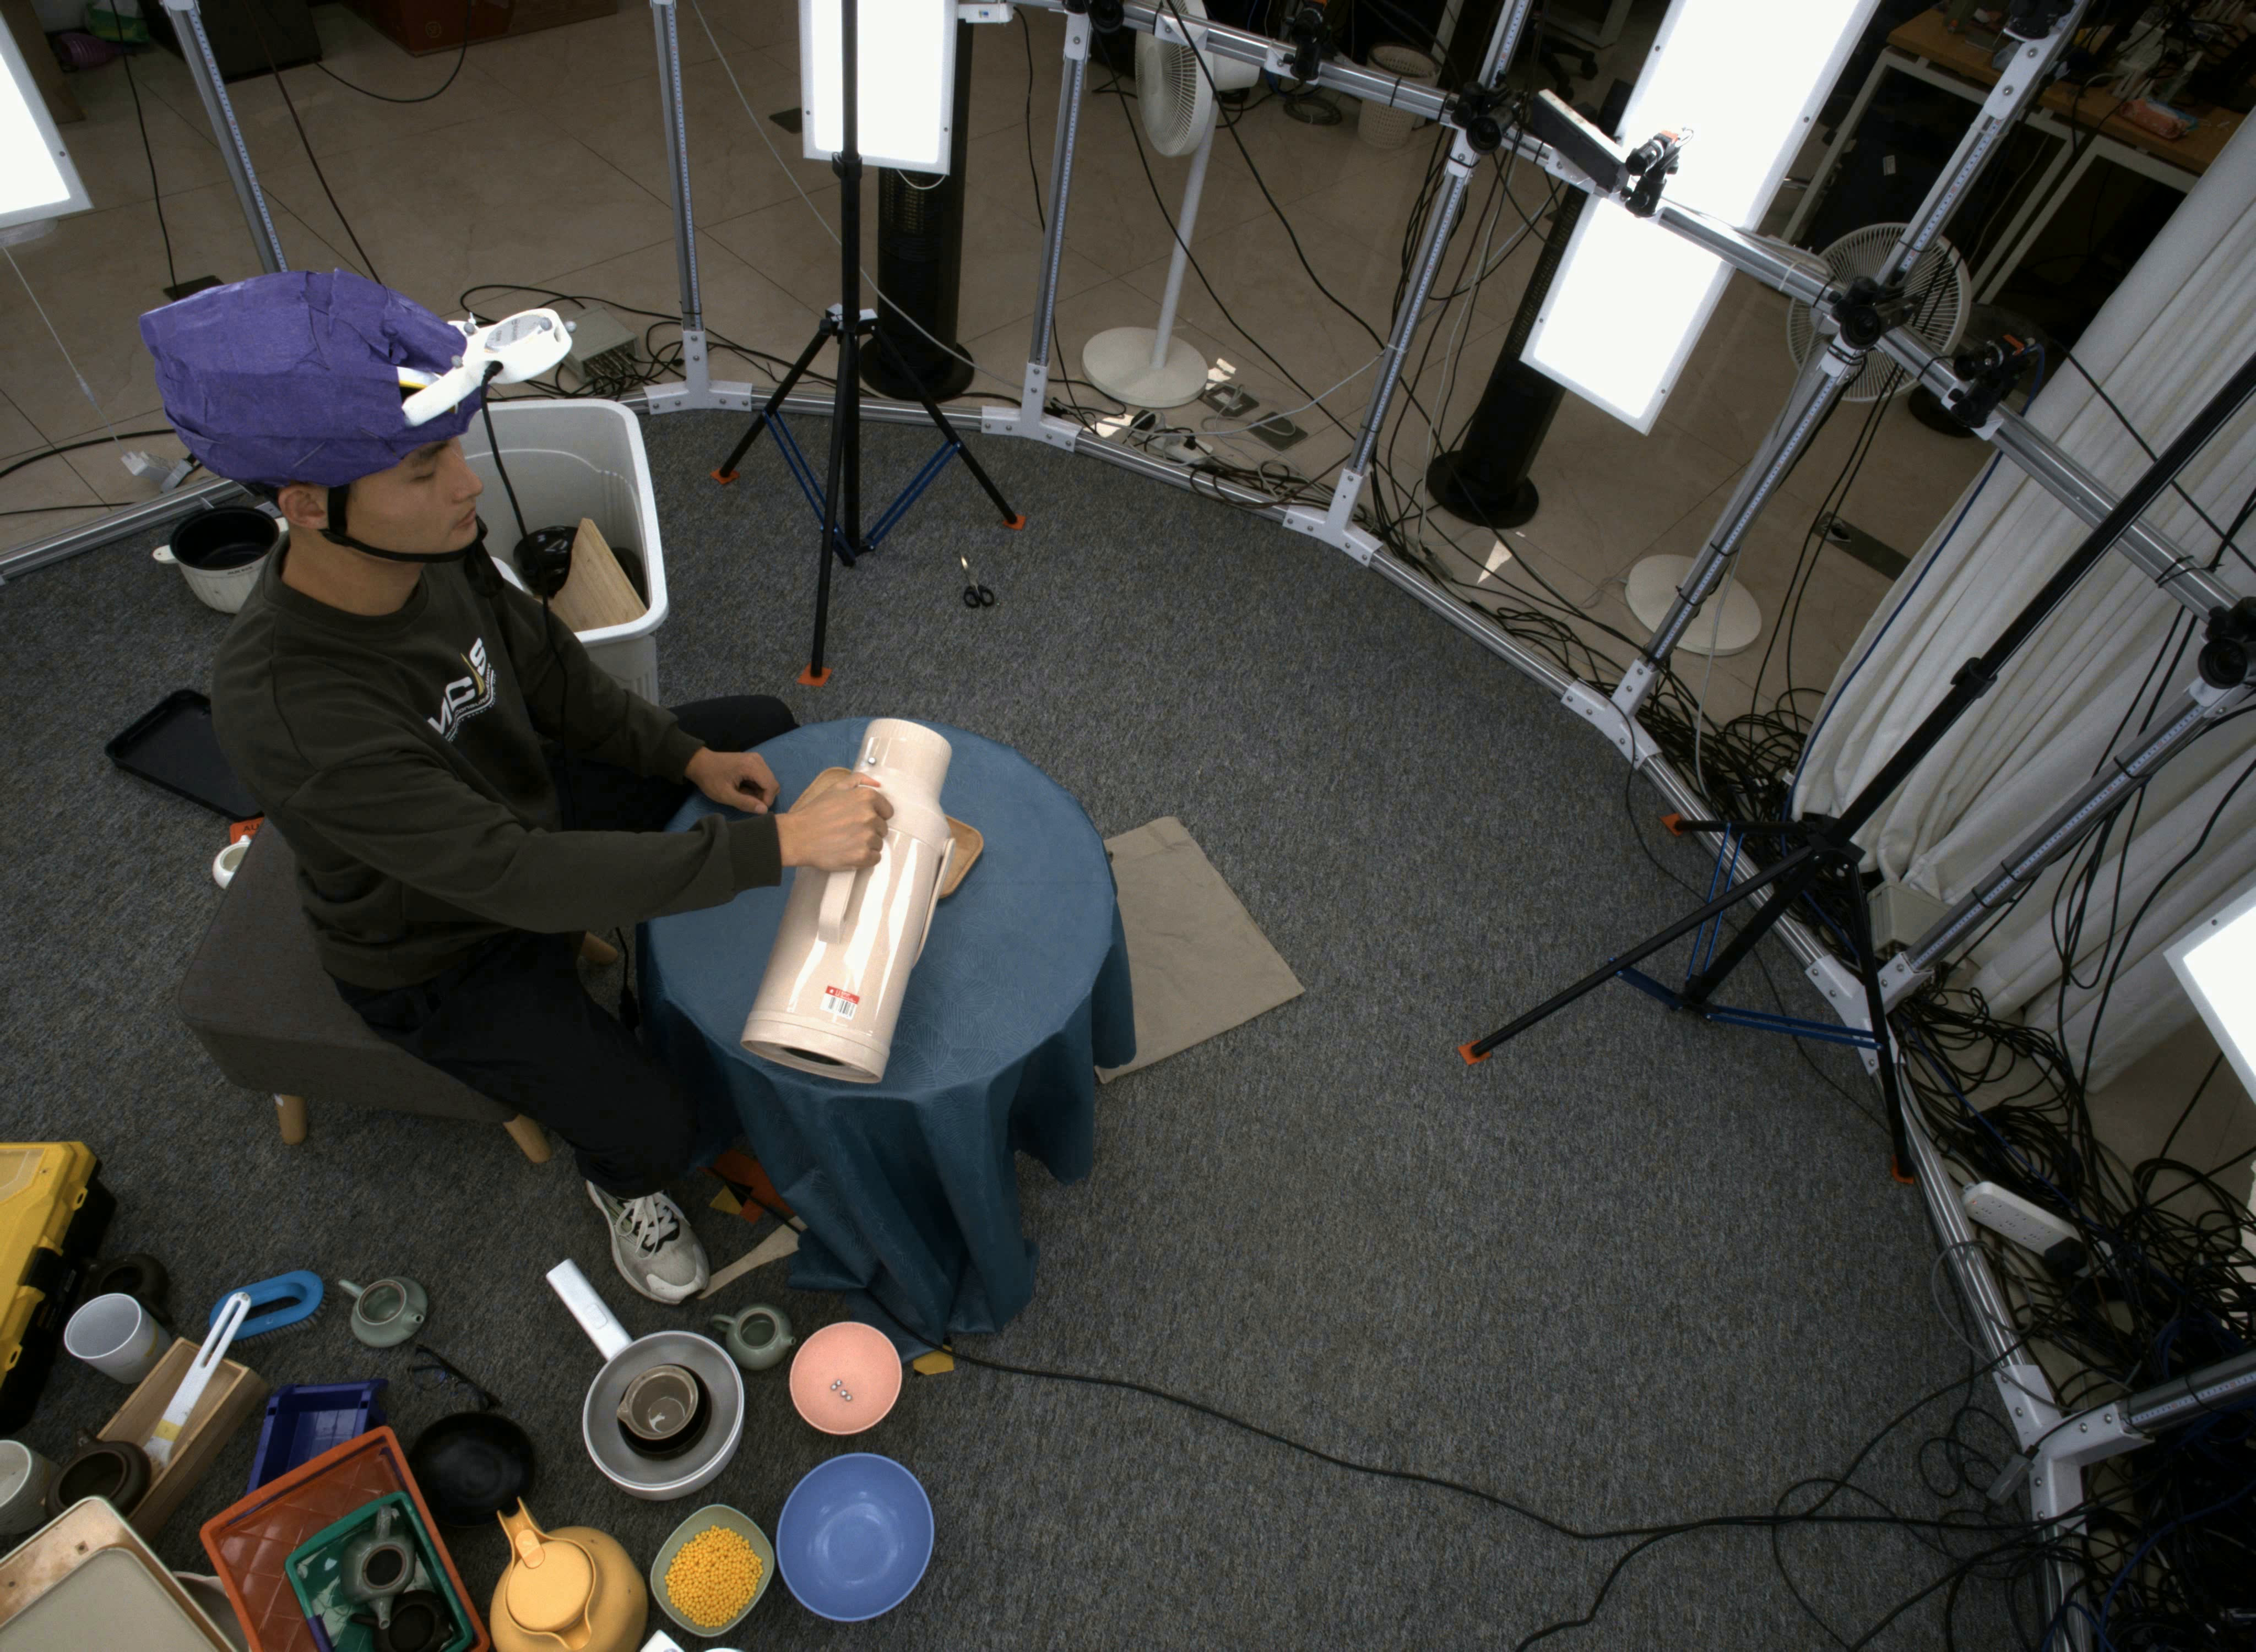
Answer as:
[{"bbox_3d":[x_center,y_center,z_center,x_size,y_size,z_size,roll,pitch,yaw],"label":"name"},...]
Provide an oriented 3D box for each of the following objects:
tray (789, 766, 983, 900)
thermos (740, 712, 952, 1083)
[{"bbox_3d":[-0.323,0.007,1.744,0.247,0.023,0.130,26,50,7],"label":"tray"},{"bbox_3d":[-0.308,0.070,1.469,0.173,0.210,0.405,13,71,3],"label":"thermos"}]
